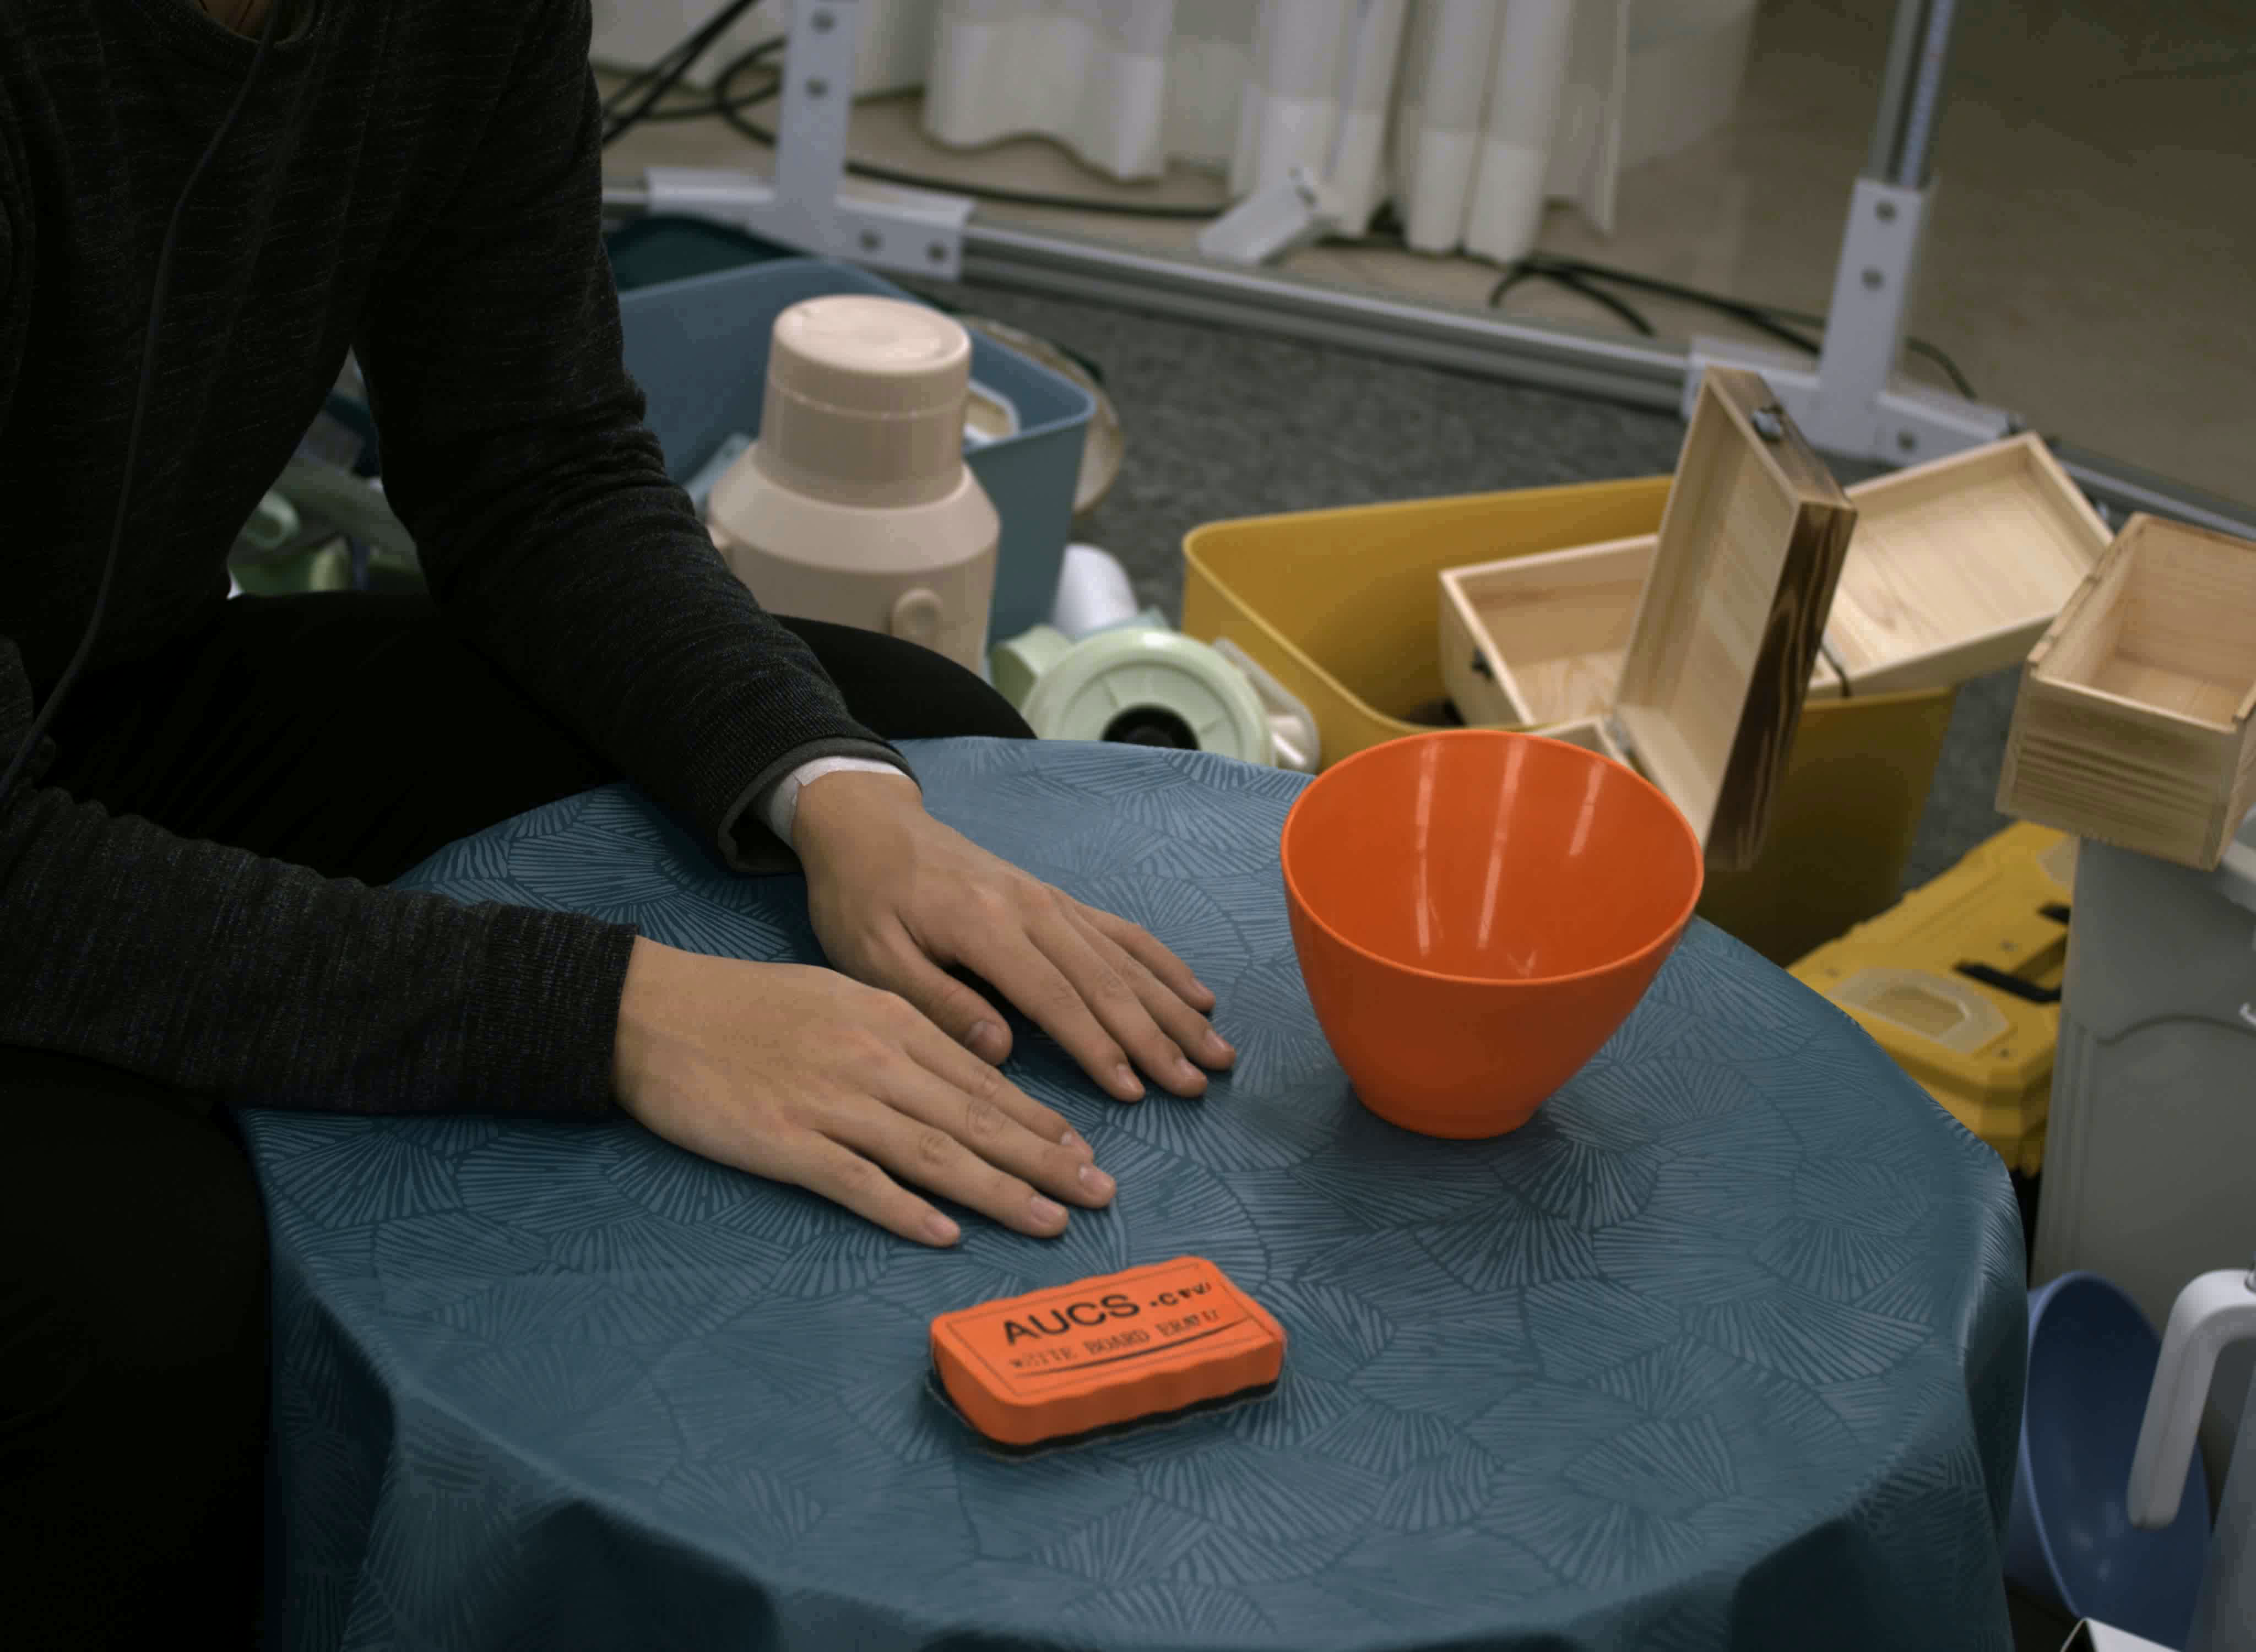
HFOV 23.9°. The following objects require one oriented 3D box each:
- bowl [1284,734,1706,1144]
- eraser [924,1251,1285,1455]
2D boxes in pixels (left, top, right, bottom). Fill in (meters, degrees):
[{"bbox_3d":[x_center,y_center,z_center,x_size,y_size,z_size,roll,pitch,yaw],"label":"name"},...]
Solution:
[{"bbox_3d":[0.123,0.046,1.870,0.147,0.104,0.149,6,27,-3],"label":"bowl"},{"bbox_3d":[-0.007,0.166,1.684,0.107,0.023,0.059,-10,33,-32],"label":"eraser"}]
